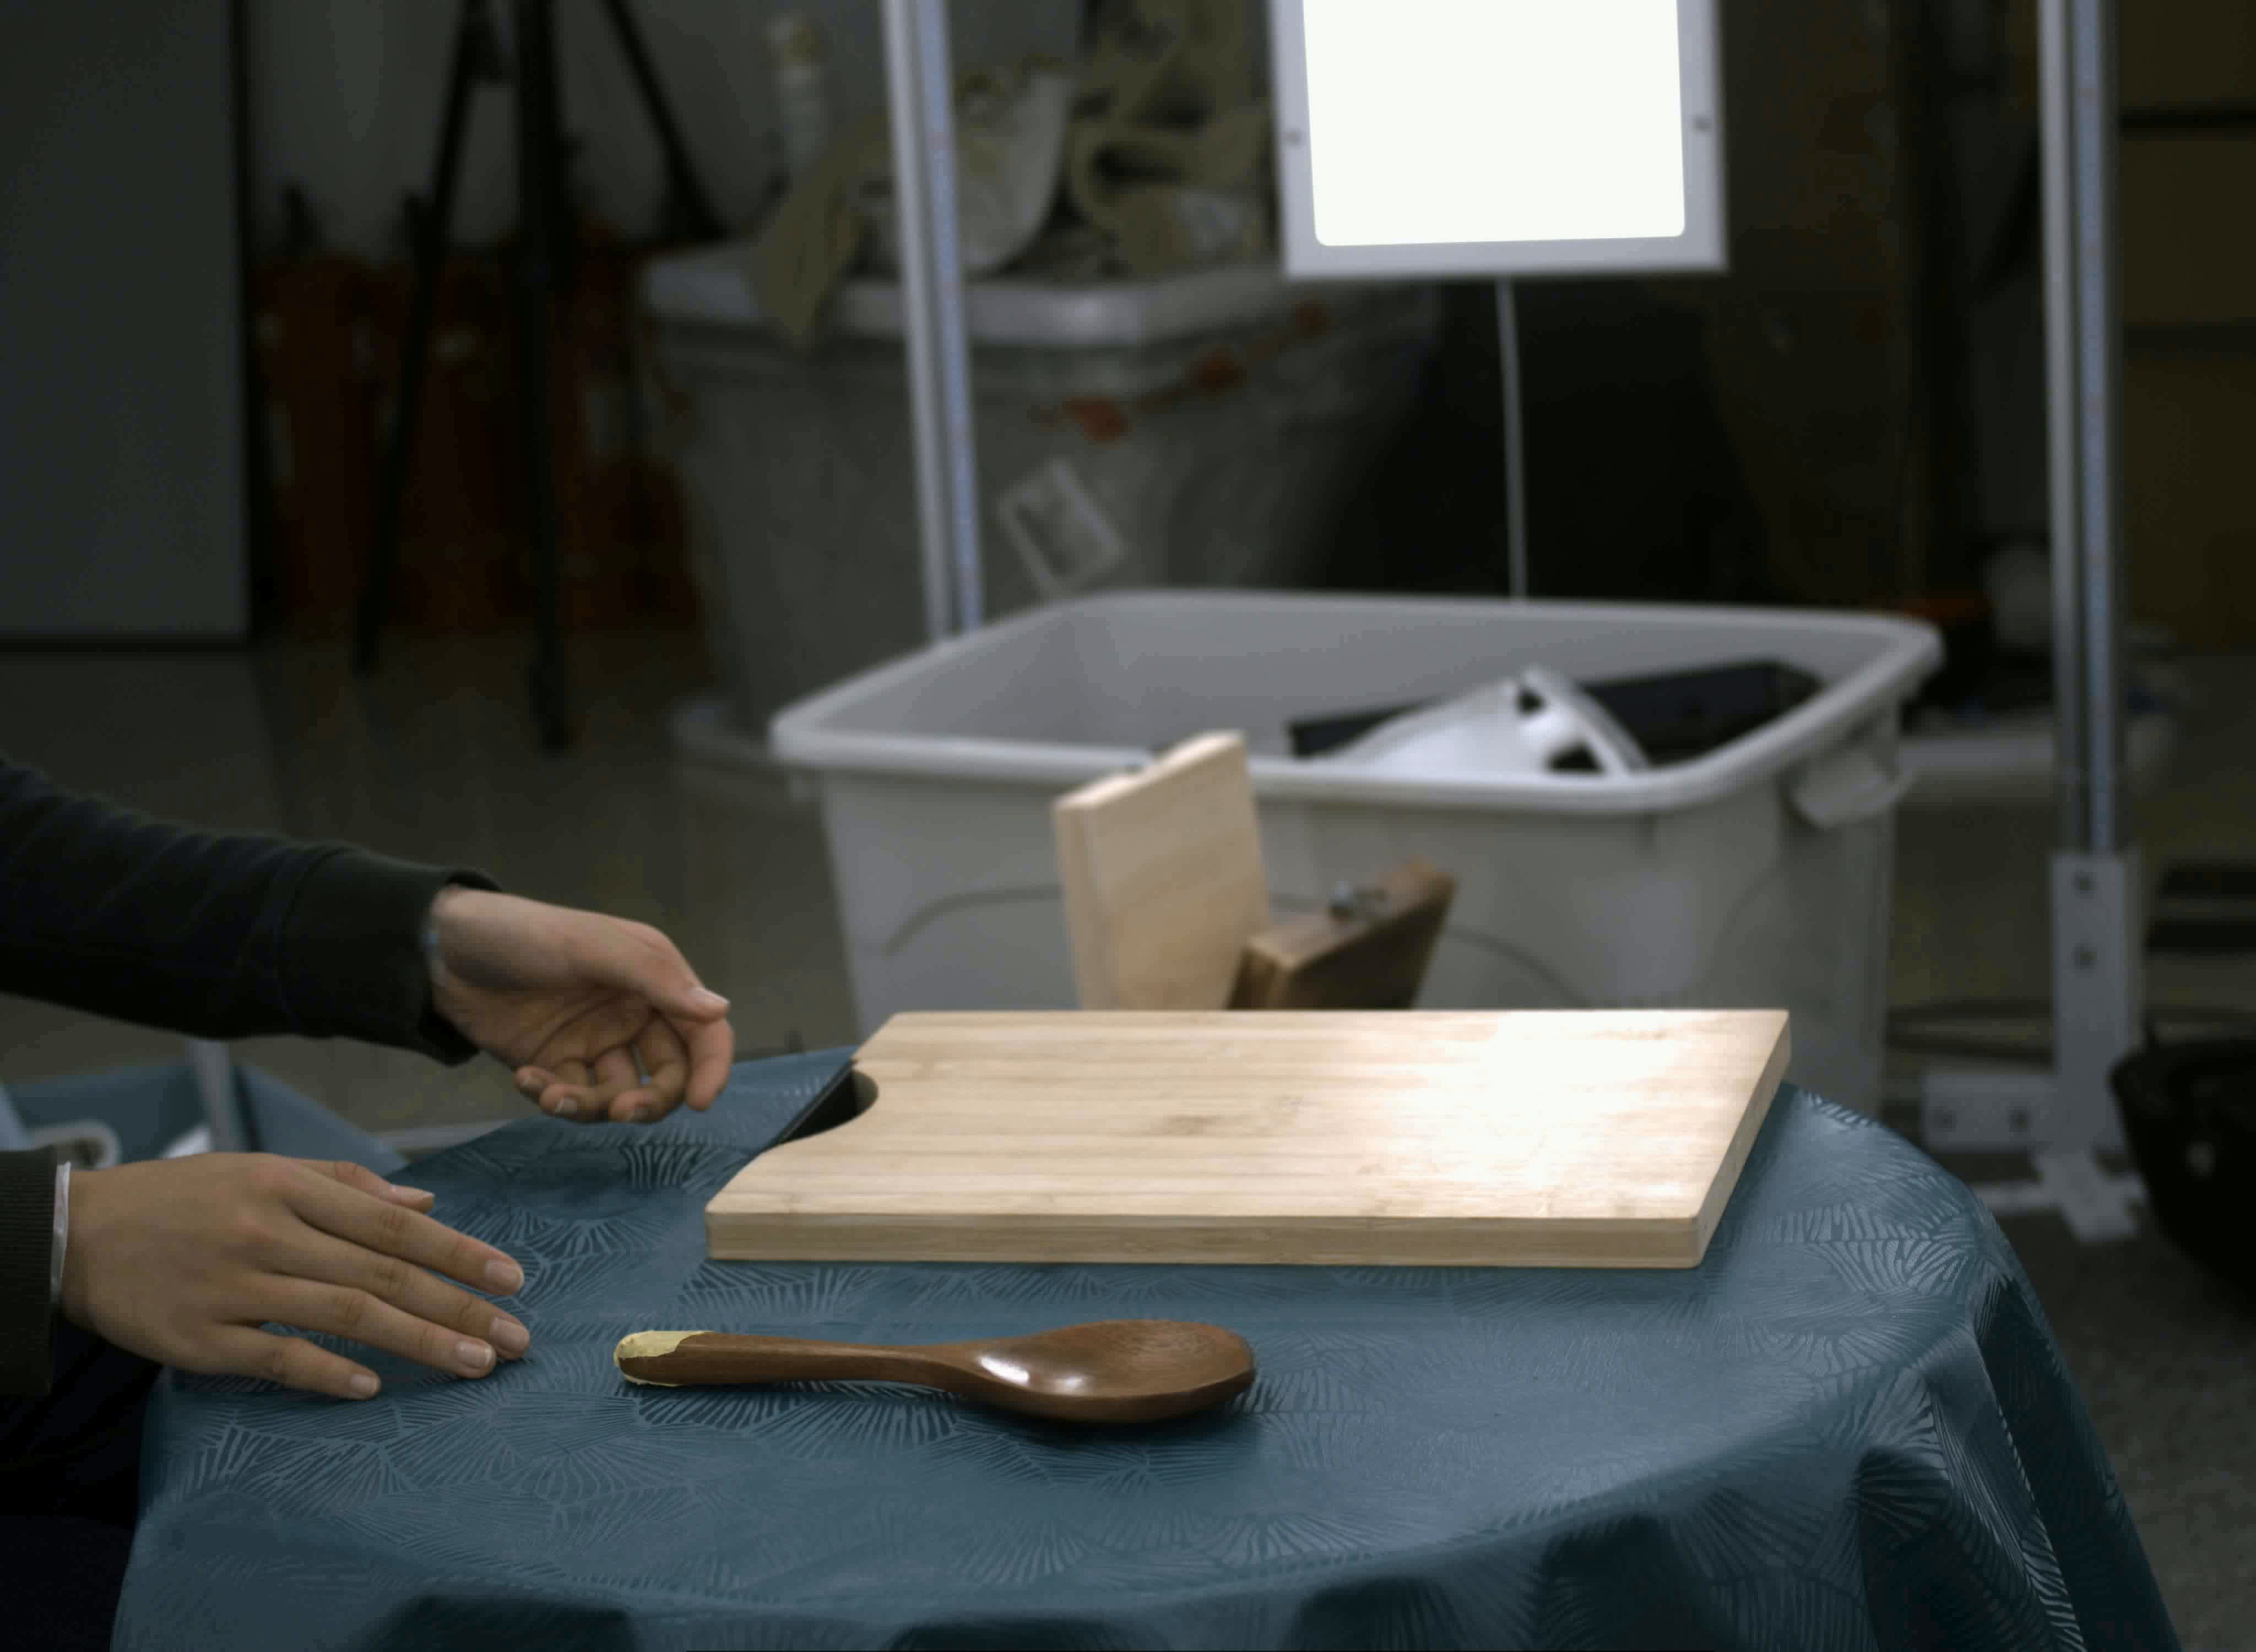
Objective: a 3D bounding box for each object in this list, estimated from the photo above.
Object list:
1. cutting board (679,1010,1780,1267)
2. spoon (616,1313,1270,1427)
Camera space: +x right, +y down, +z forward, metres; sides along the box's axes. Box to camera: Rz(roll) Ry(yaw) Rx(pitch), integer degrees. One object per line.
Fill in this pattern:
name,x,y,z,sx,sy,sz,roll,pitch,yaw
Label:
cutting board,0.042,0.107,1.927,0.352,0.023,0.247,-1,14,15
spoon,-0.059,0.168,1.713,0.219,0.017,0.074,1,17,22
